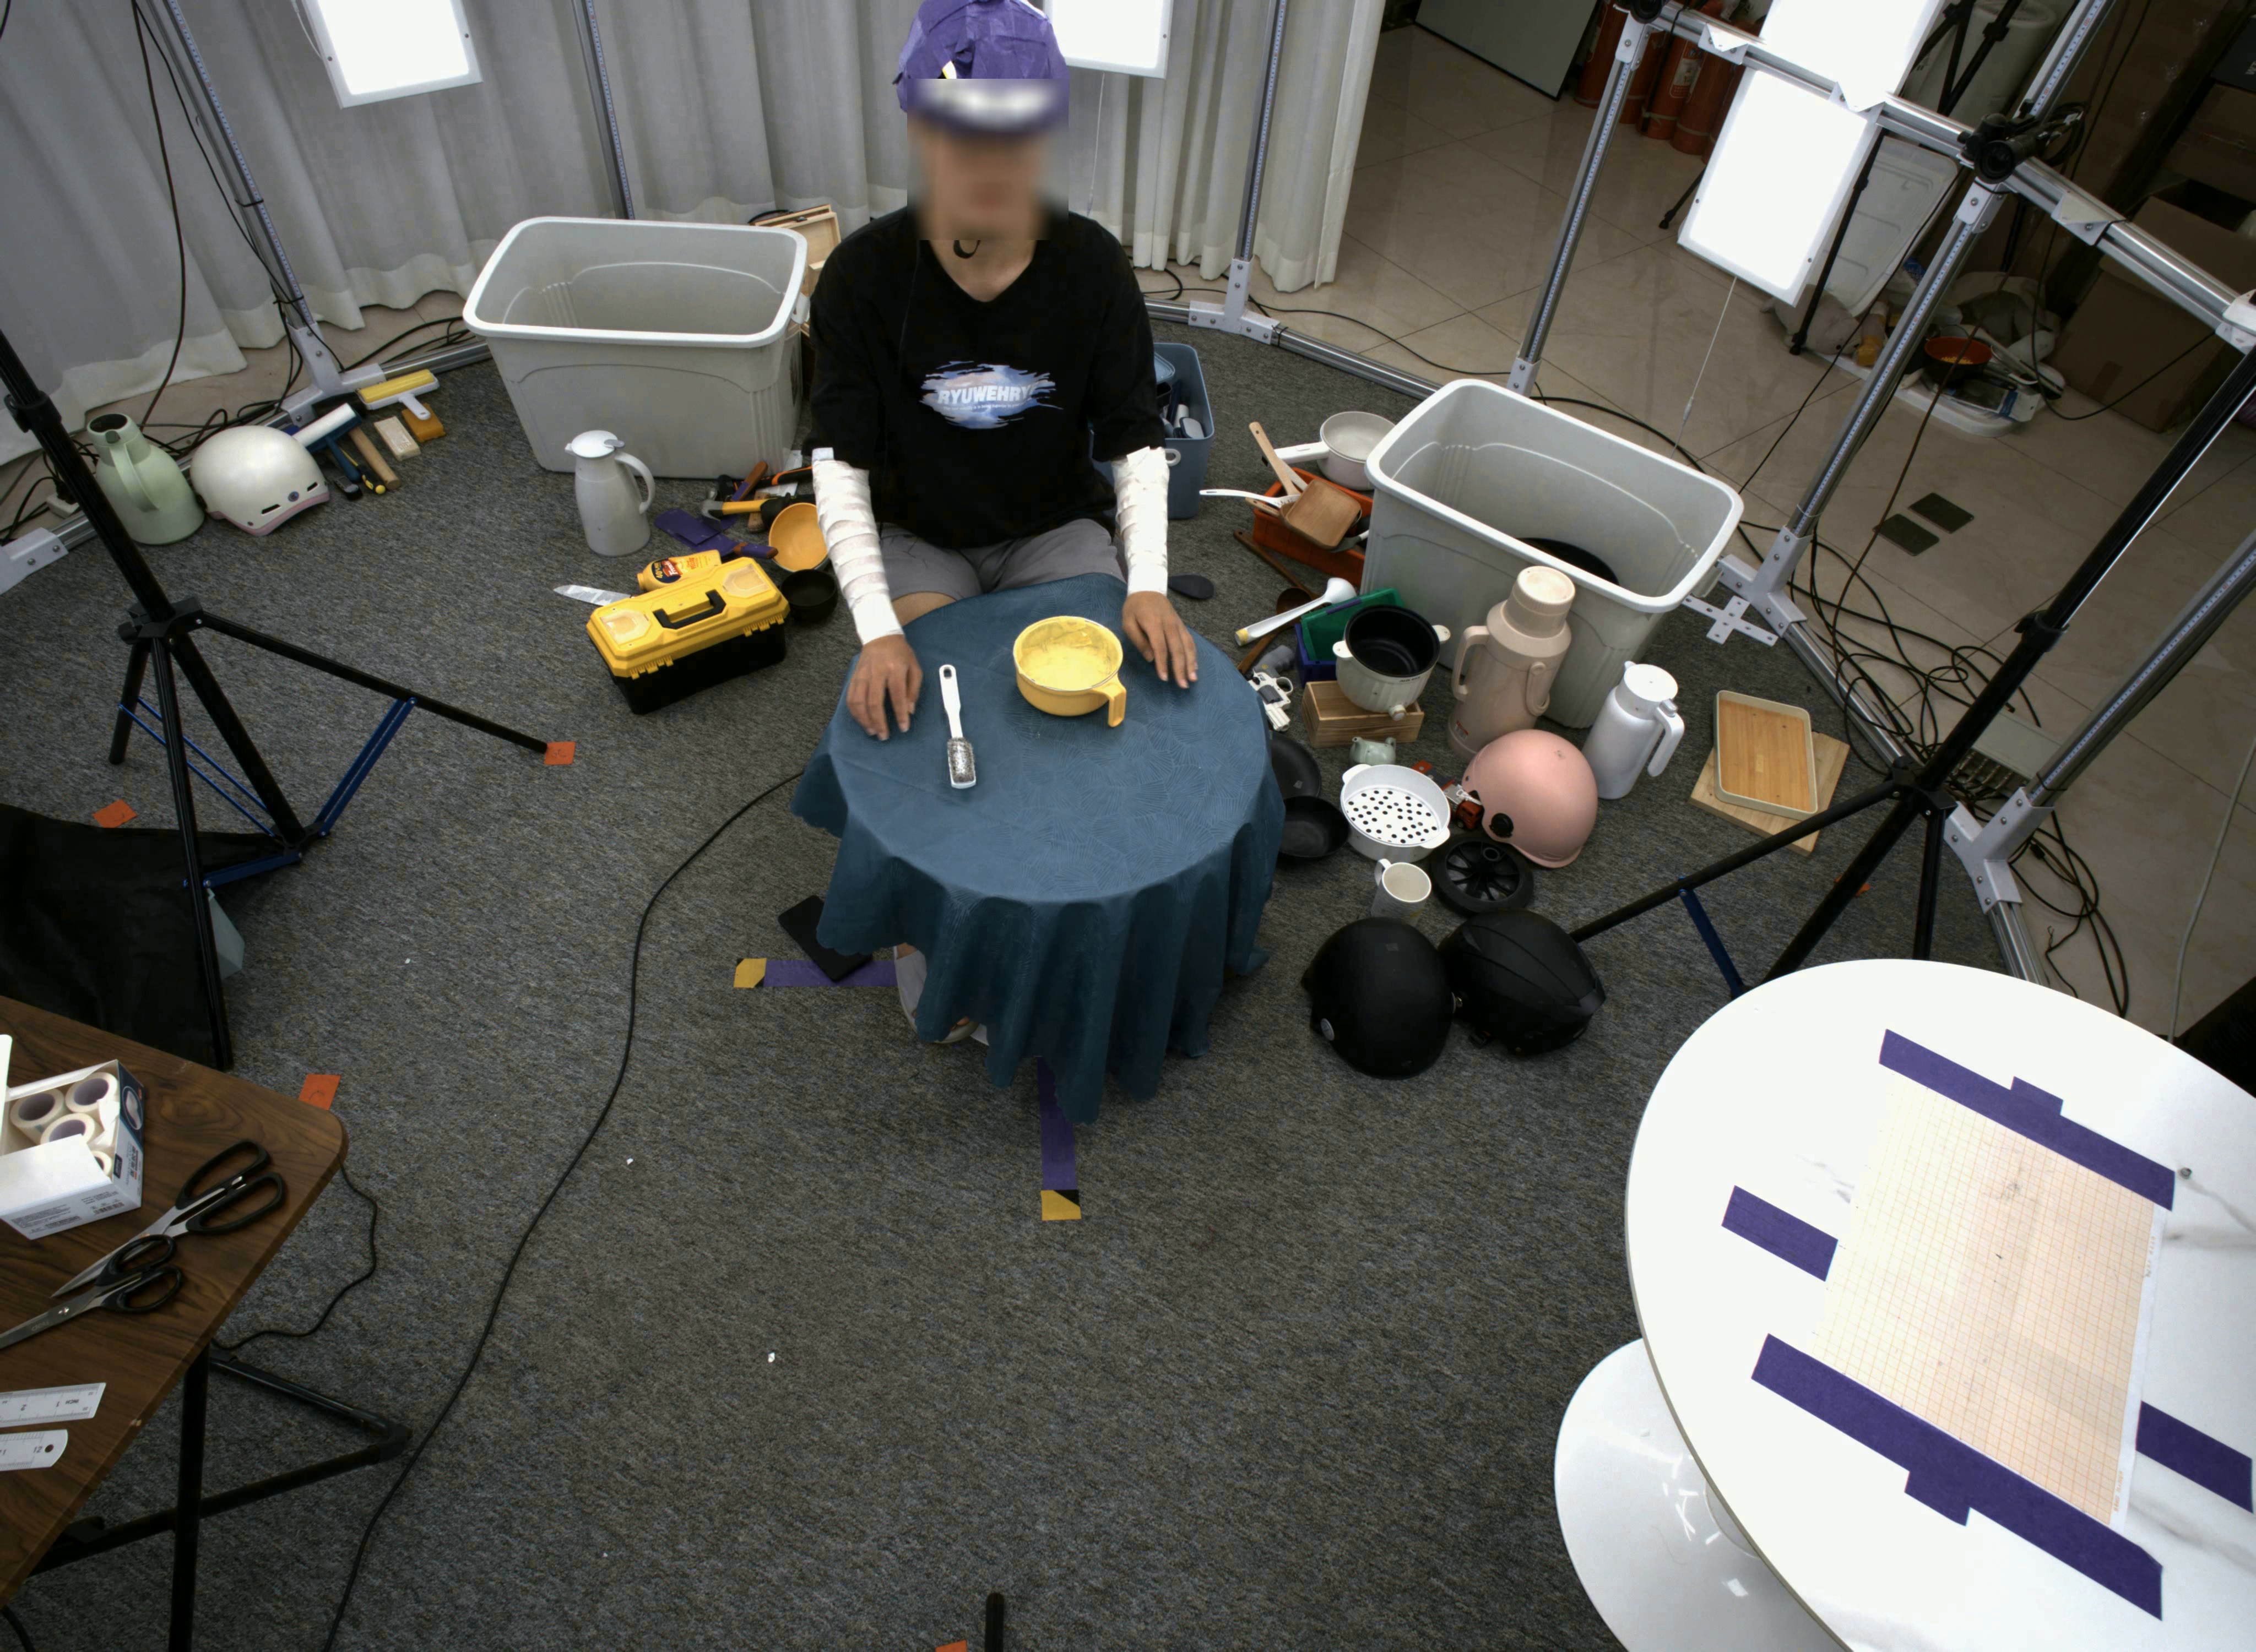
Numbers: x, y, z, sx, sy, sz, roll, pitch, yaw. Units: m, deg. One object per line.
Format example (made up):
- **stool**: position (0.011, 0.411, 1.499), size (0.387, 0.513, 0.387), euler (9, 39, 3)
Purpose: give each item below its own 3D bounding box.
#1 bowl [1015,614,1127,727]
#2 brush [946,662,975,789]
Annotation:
- **bowl**: position (-0.075, -0.215, 1.809), size (0.181, 0.072, 0.154), euler (37, 52, 23)
- **brush**: position (-0.232, -0.151, 1.757), size (0.034, 0.049, 0.250), euler (-5, 51, -6)
